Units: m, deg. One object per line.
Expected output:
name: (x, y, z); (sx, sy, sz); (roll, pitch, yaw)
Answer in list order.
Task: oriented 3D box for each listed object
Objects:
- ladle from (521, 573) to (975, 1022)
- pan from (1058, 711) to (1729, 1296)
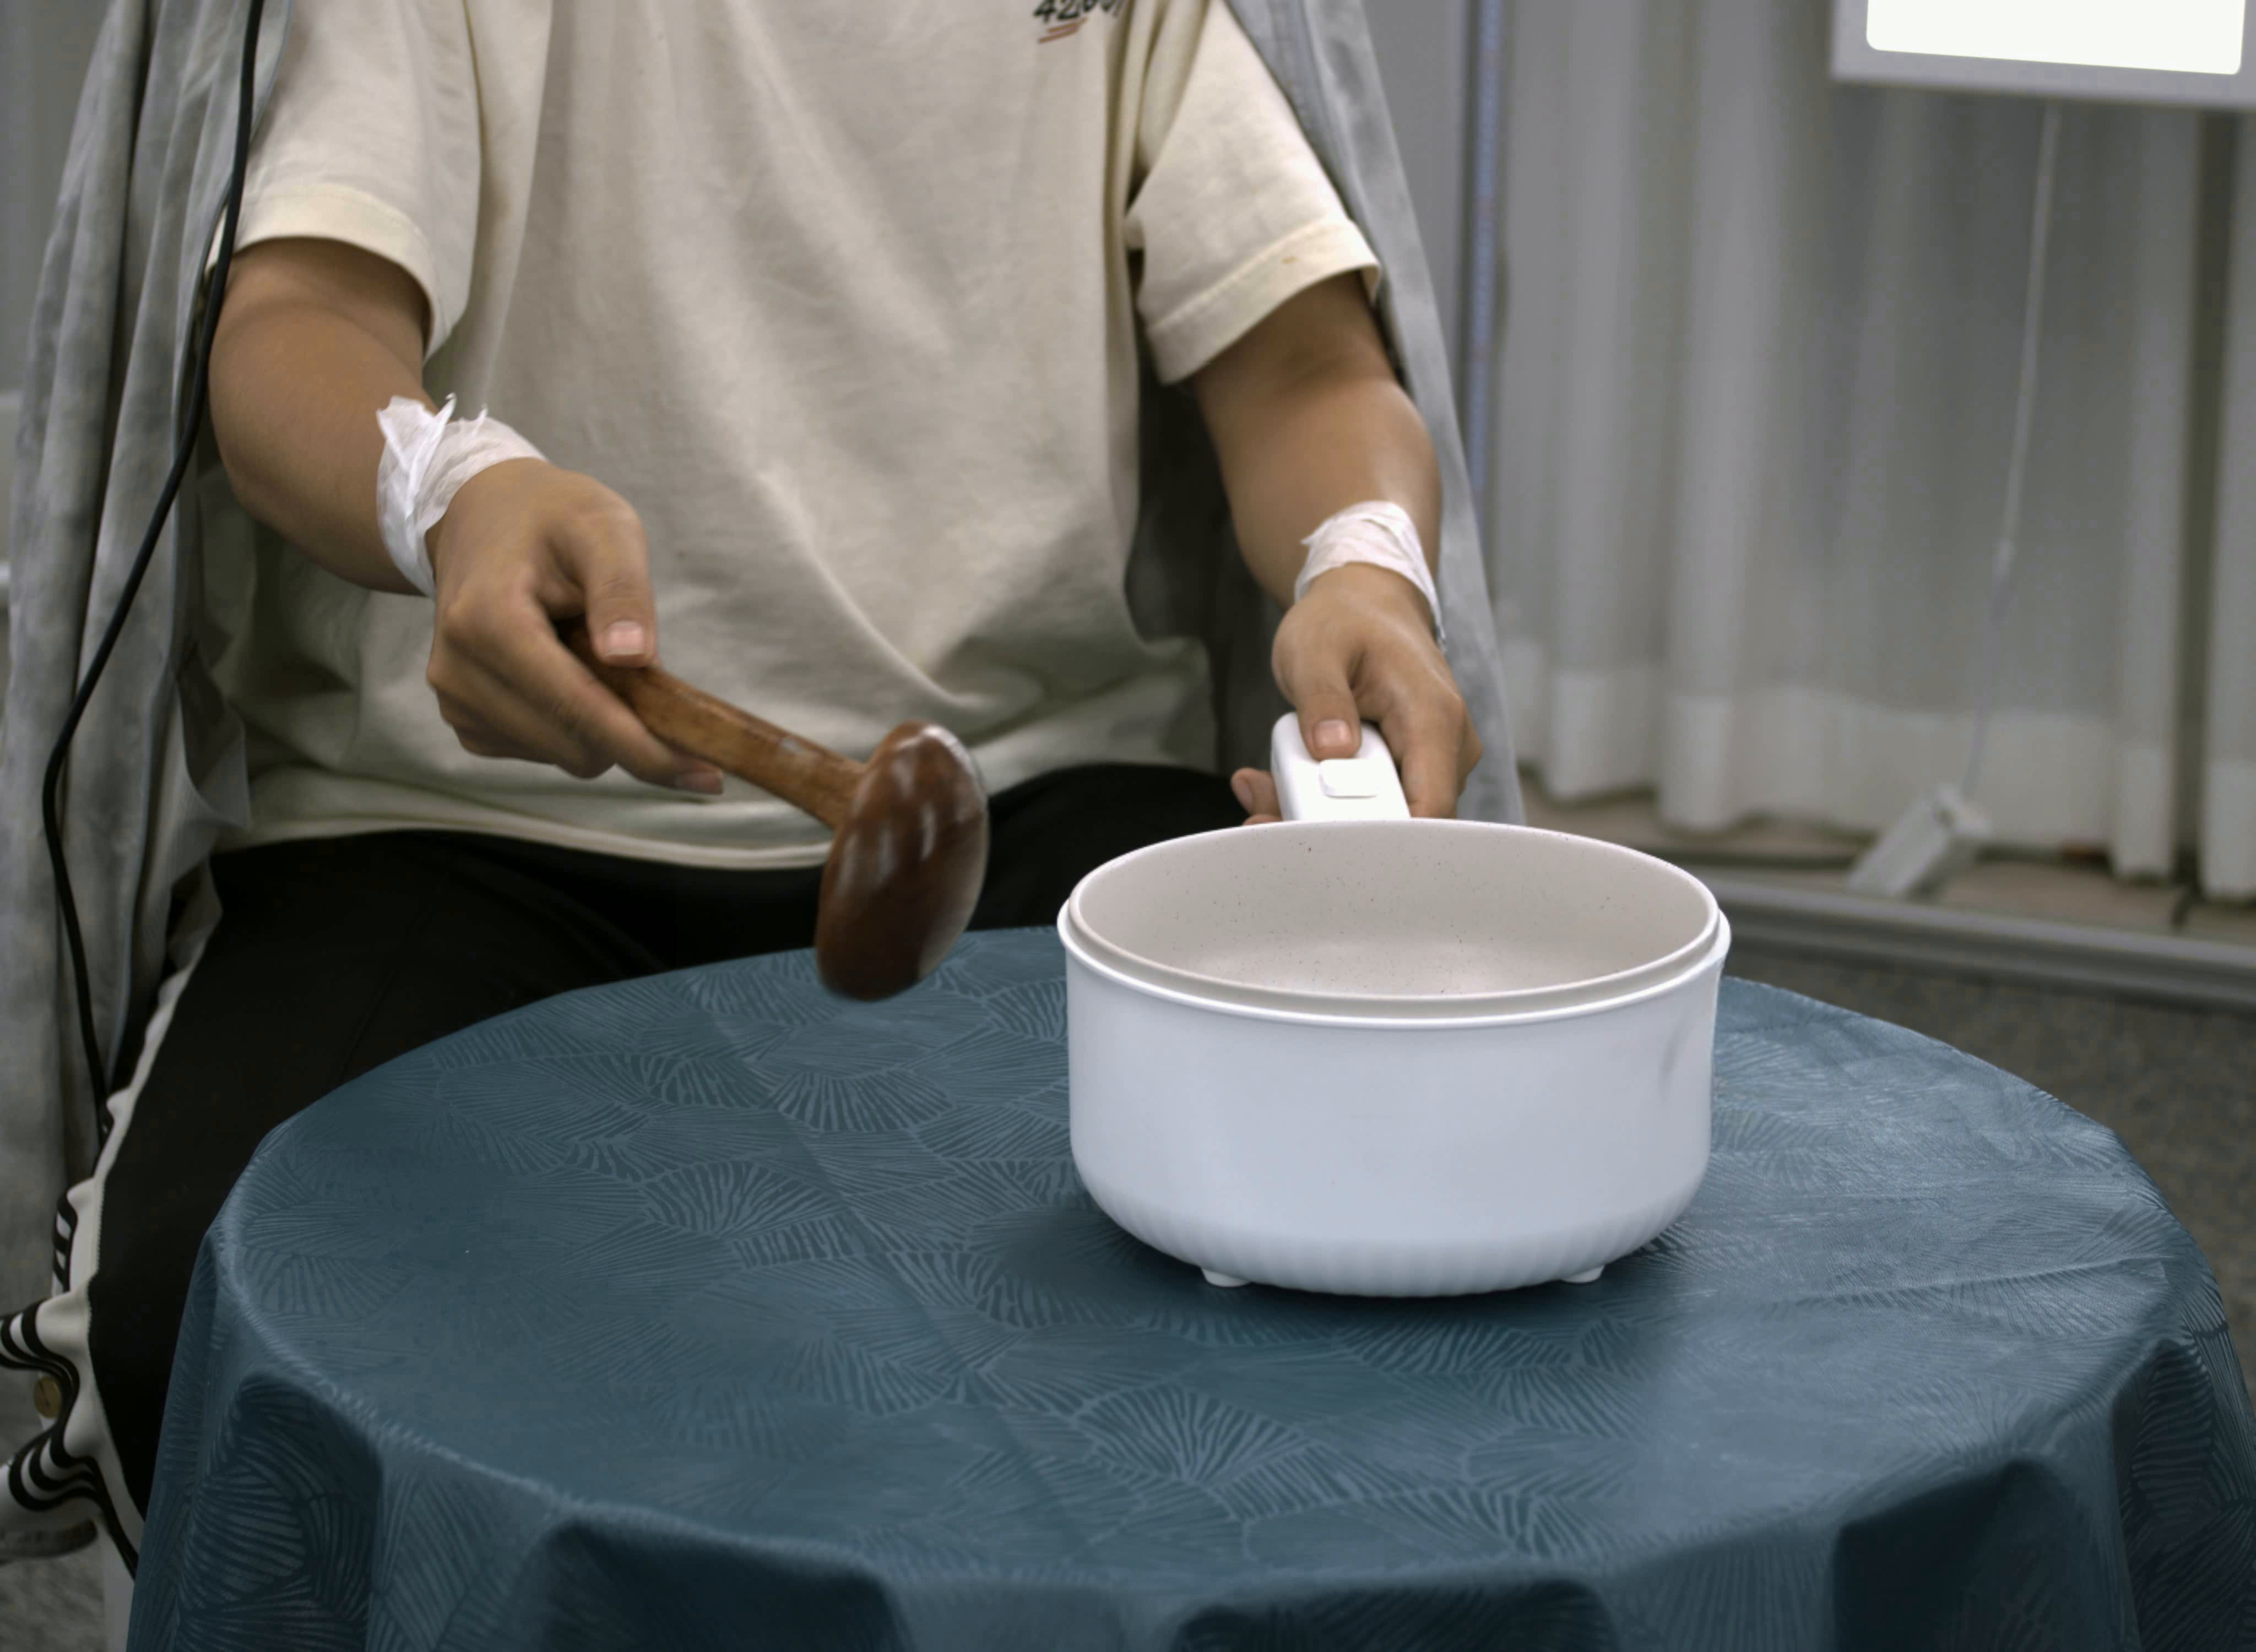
ladle: (-0.129, -0.021, 1.523); (0.077, 0.082, 0.270); (7, 16, -41)
pan: (0.077, 0.051, 1.662); (0.201, 0.103, 0.352); (0, 15, -2)
